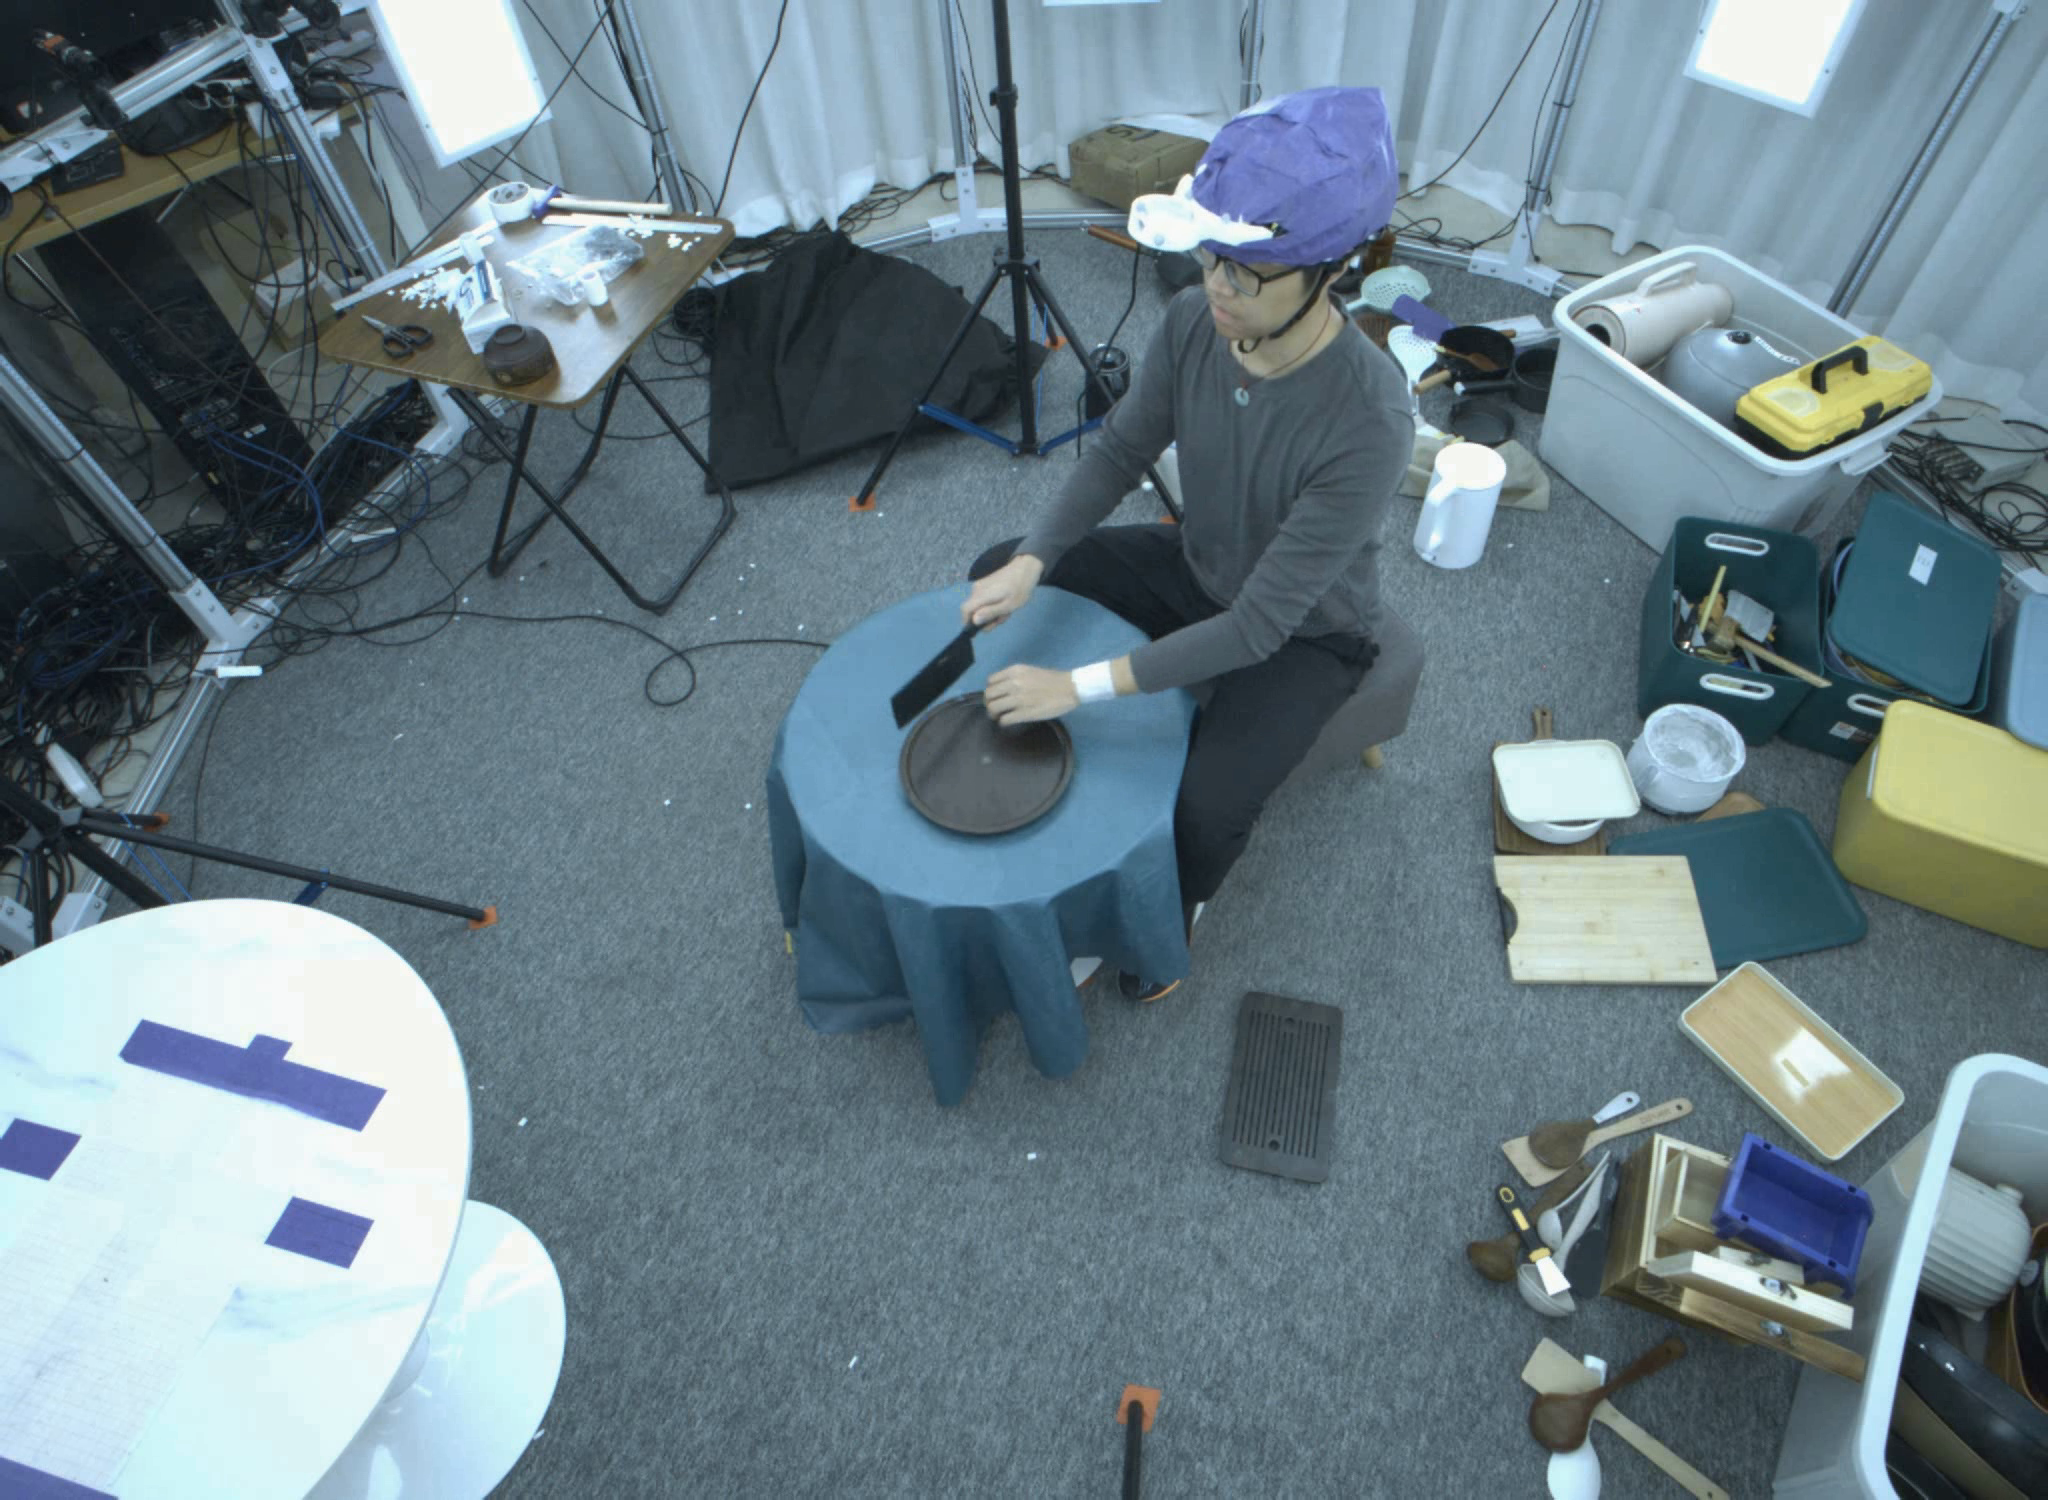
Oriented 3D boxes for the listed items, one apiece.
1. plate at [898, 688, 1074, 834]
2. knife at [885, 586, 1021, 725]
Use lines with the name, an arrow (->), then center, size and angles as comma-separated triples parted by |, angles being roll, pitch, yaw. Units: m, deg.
plate -> -0.055, 0.015, 1.772 | 0.254, 0.029, 0.252 | -1, 54, 2
knife -> -0.099, -0.144, 1.773 | 0.020, 0.082, 0.304 | 23, 54, 29
